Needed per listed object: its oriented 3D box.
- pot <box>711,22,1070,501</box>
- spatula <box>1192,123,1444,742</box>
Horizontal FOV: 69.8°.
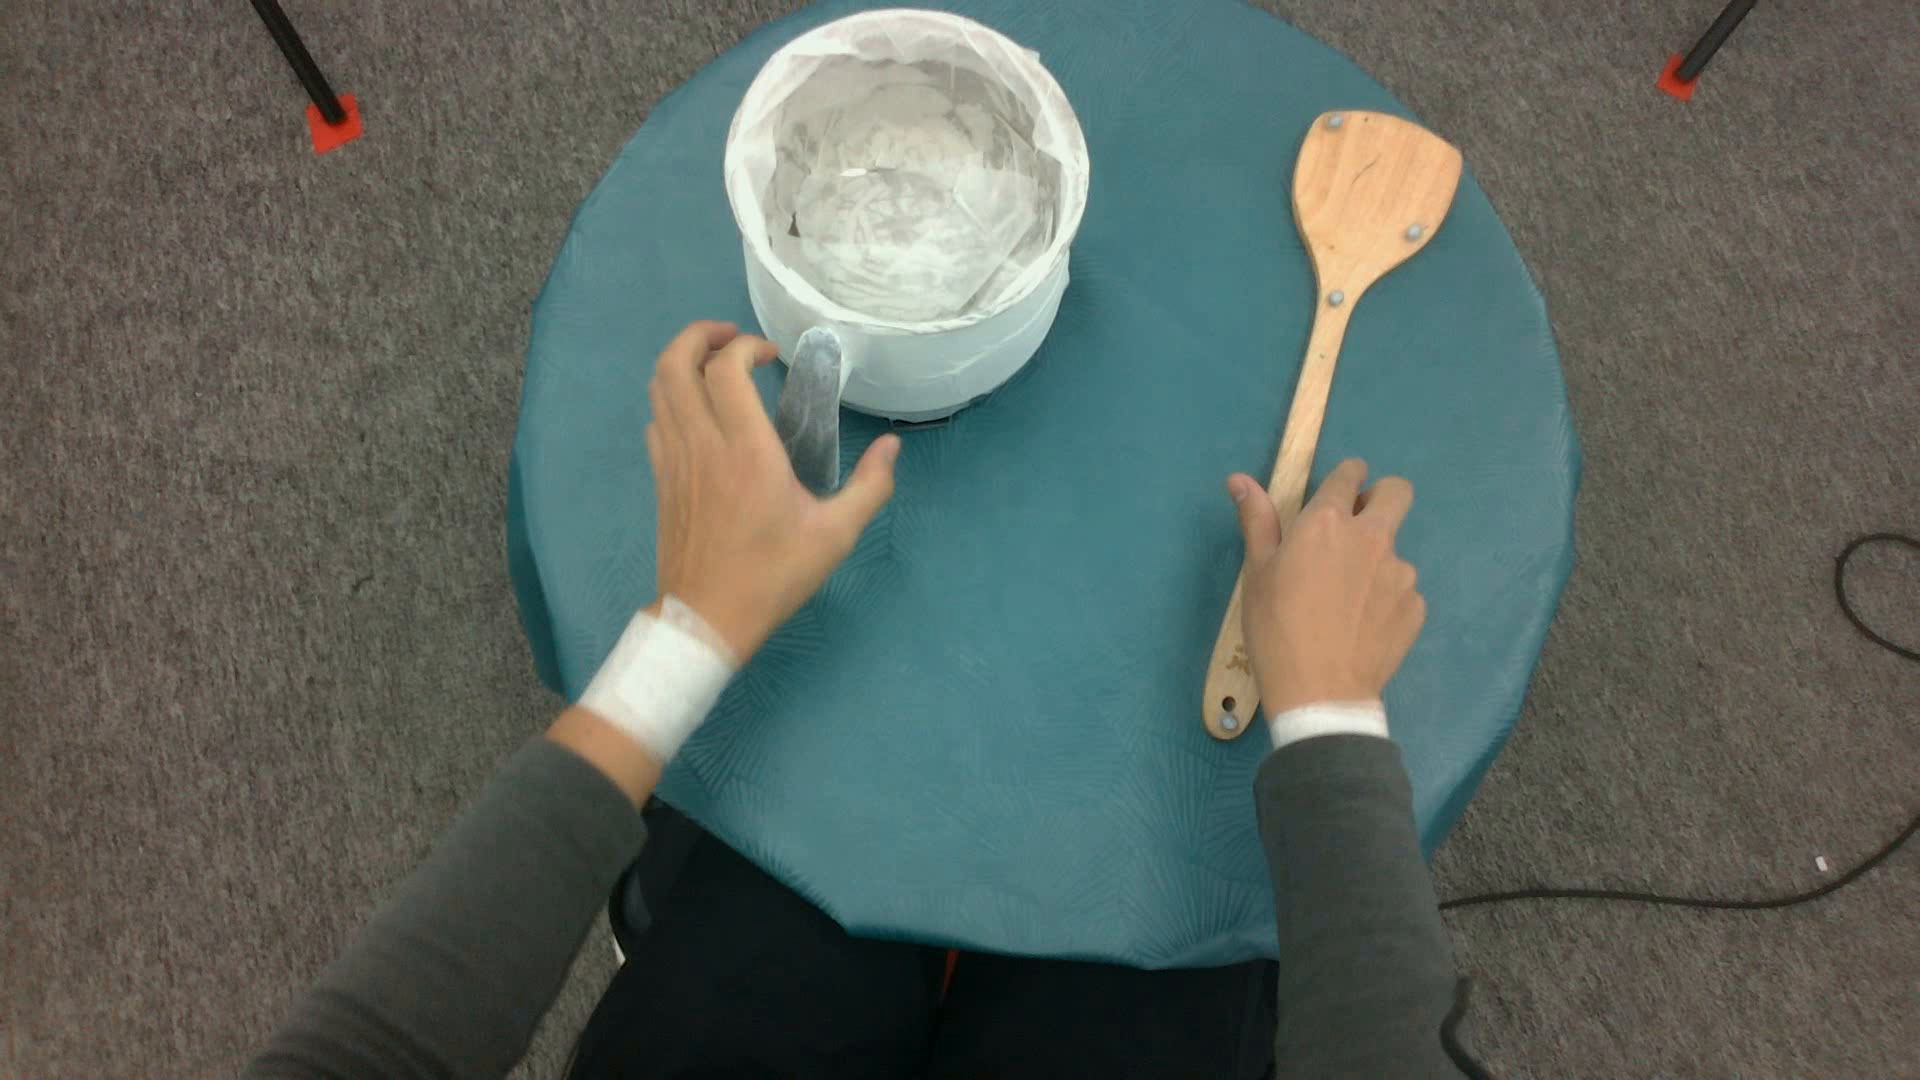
[{"bbox_3d":[-0.047,-0.137,0.728,0.178,0.136,0.234,21,73,4],"label":"pot"},{"bbox_3d":[0.195,-0.071,0.786,0.096,0.018,0.392,17,72,2],"label":"spatula"}]
